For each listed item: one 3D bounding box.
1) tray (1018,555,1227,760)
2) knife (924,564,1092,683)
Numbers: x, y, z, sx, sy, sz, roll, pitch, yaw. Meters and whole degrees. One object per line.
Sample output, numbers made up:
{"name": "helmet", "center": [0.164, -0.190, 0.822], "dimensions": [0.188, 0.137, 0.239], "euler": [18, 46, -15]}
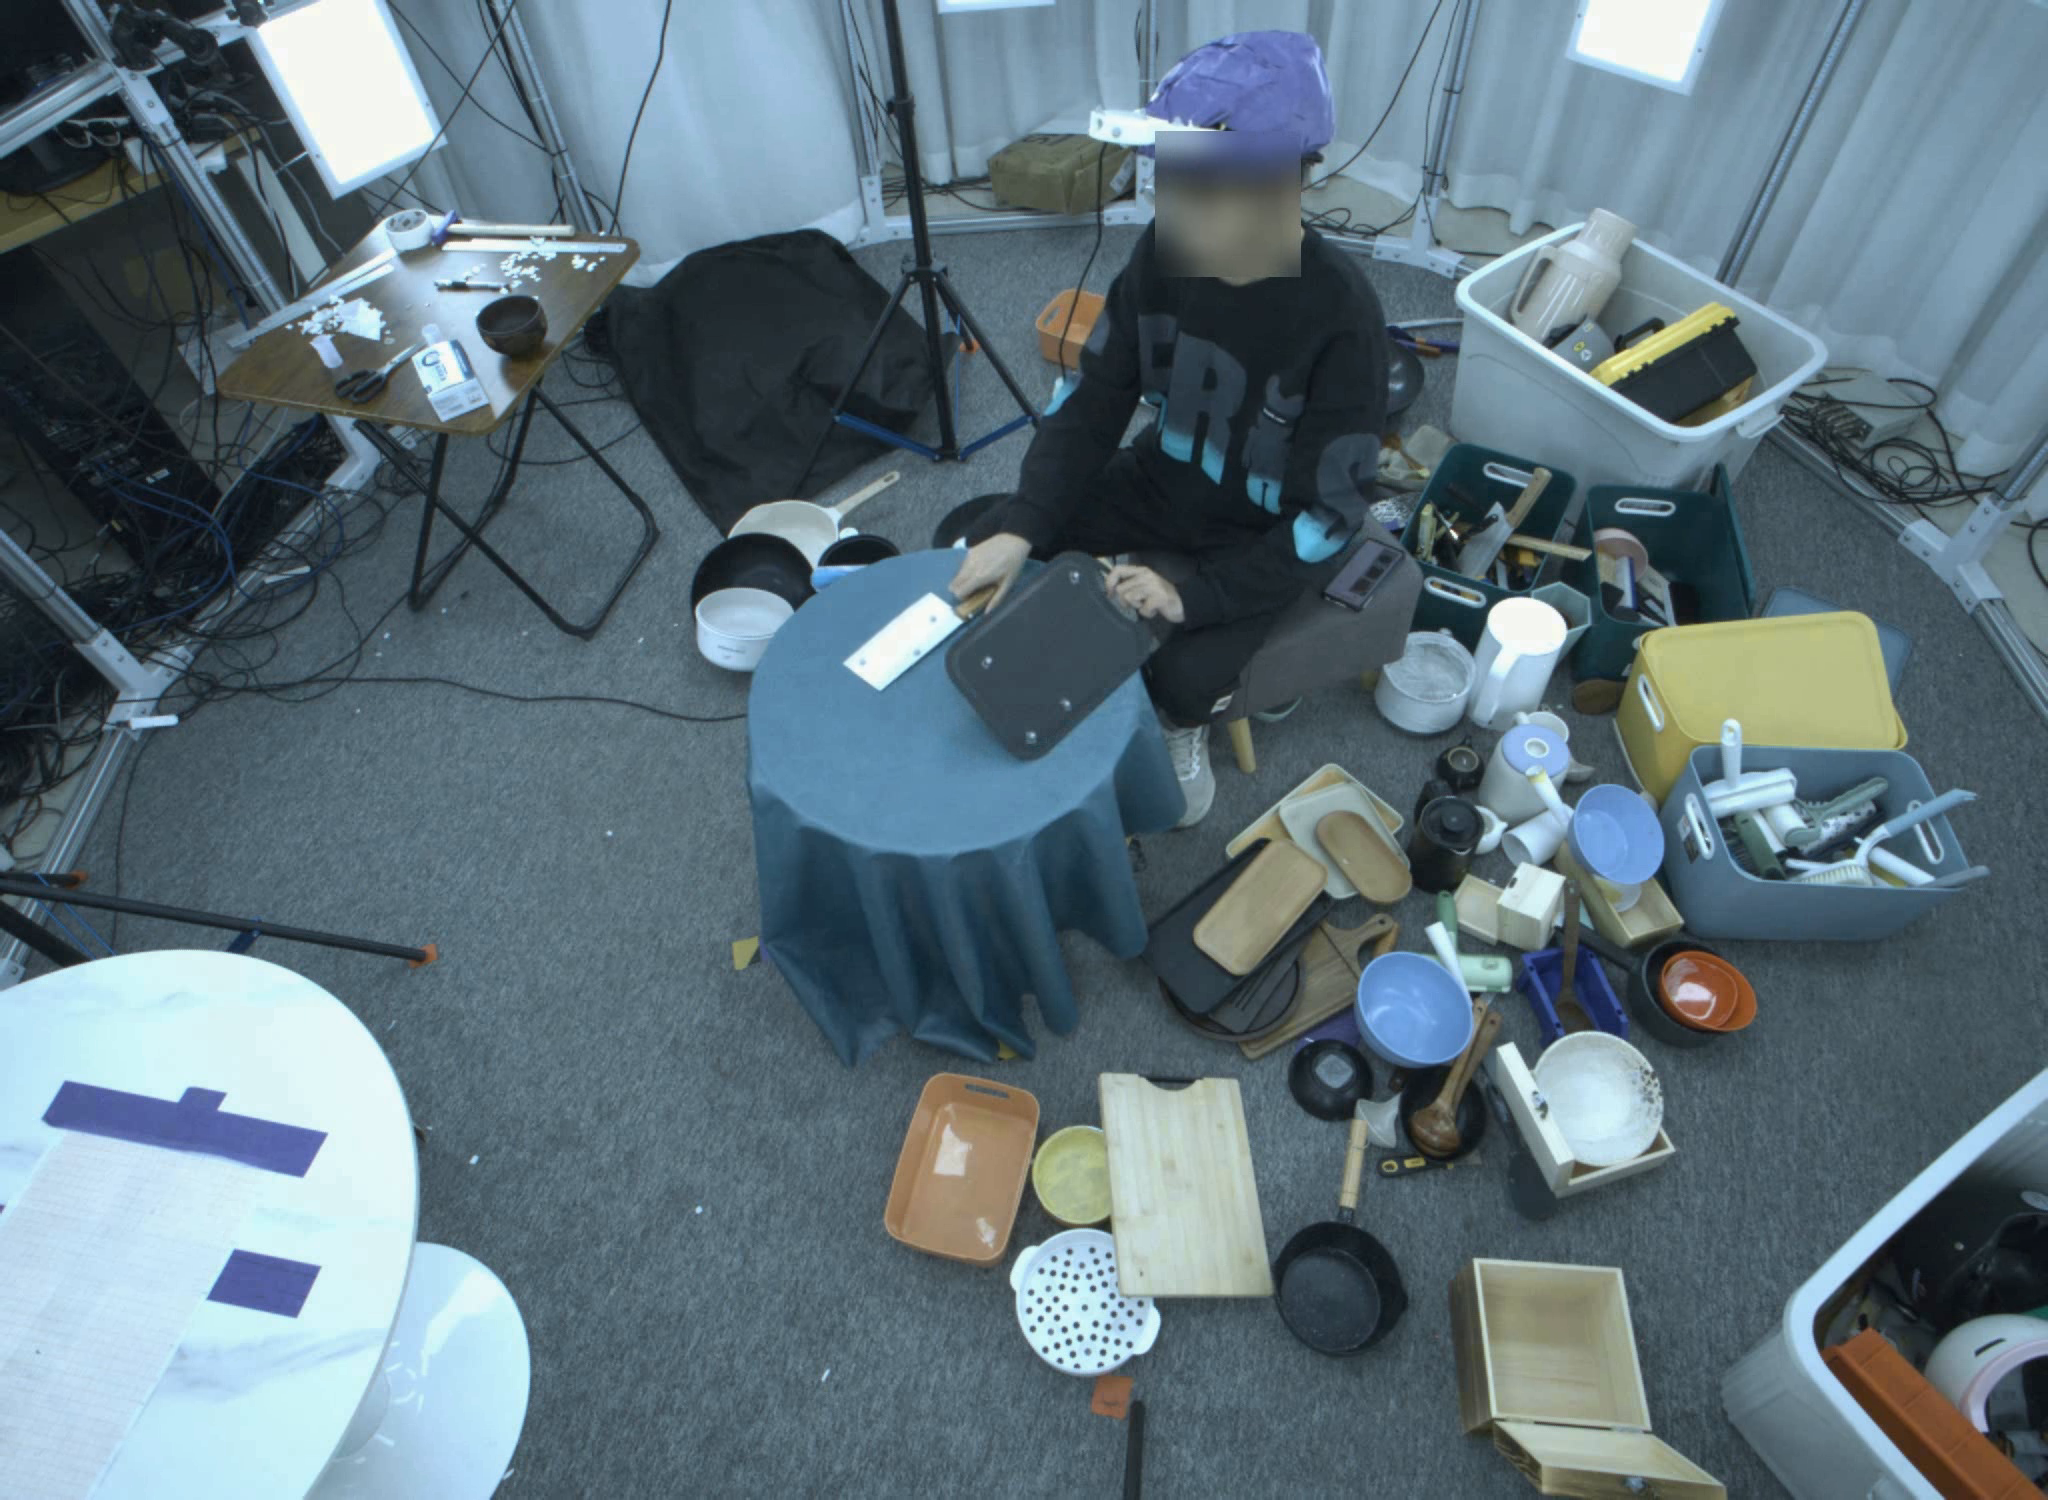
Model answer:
{"name": "tray", "center": [0.155, -0.145, 1.808], "dimensions": [0.328, 0.009, 0.212], "euler": [-38, 95, -21]}
{"name": "knife", "center": [-0.028, -0.212, 1.929], "dimensions": [0.308, 0.021, 0.091], "euler": [-38, 60, -20]}
